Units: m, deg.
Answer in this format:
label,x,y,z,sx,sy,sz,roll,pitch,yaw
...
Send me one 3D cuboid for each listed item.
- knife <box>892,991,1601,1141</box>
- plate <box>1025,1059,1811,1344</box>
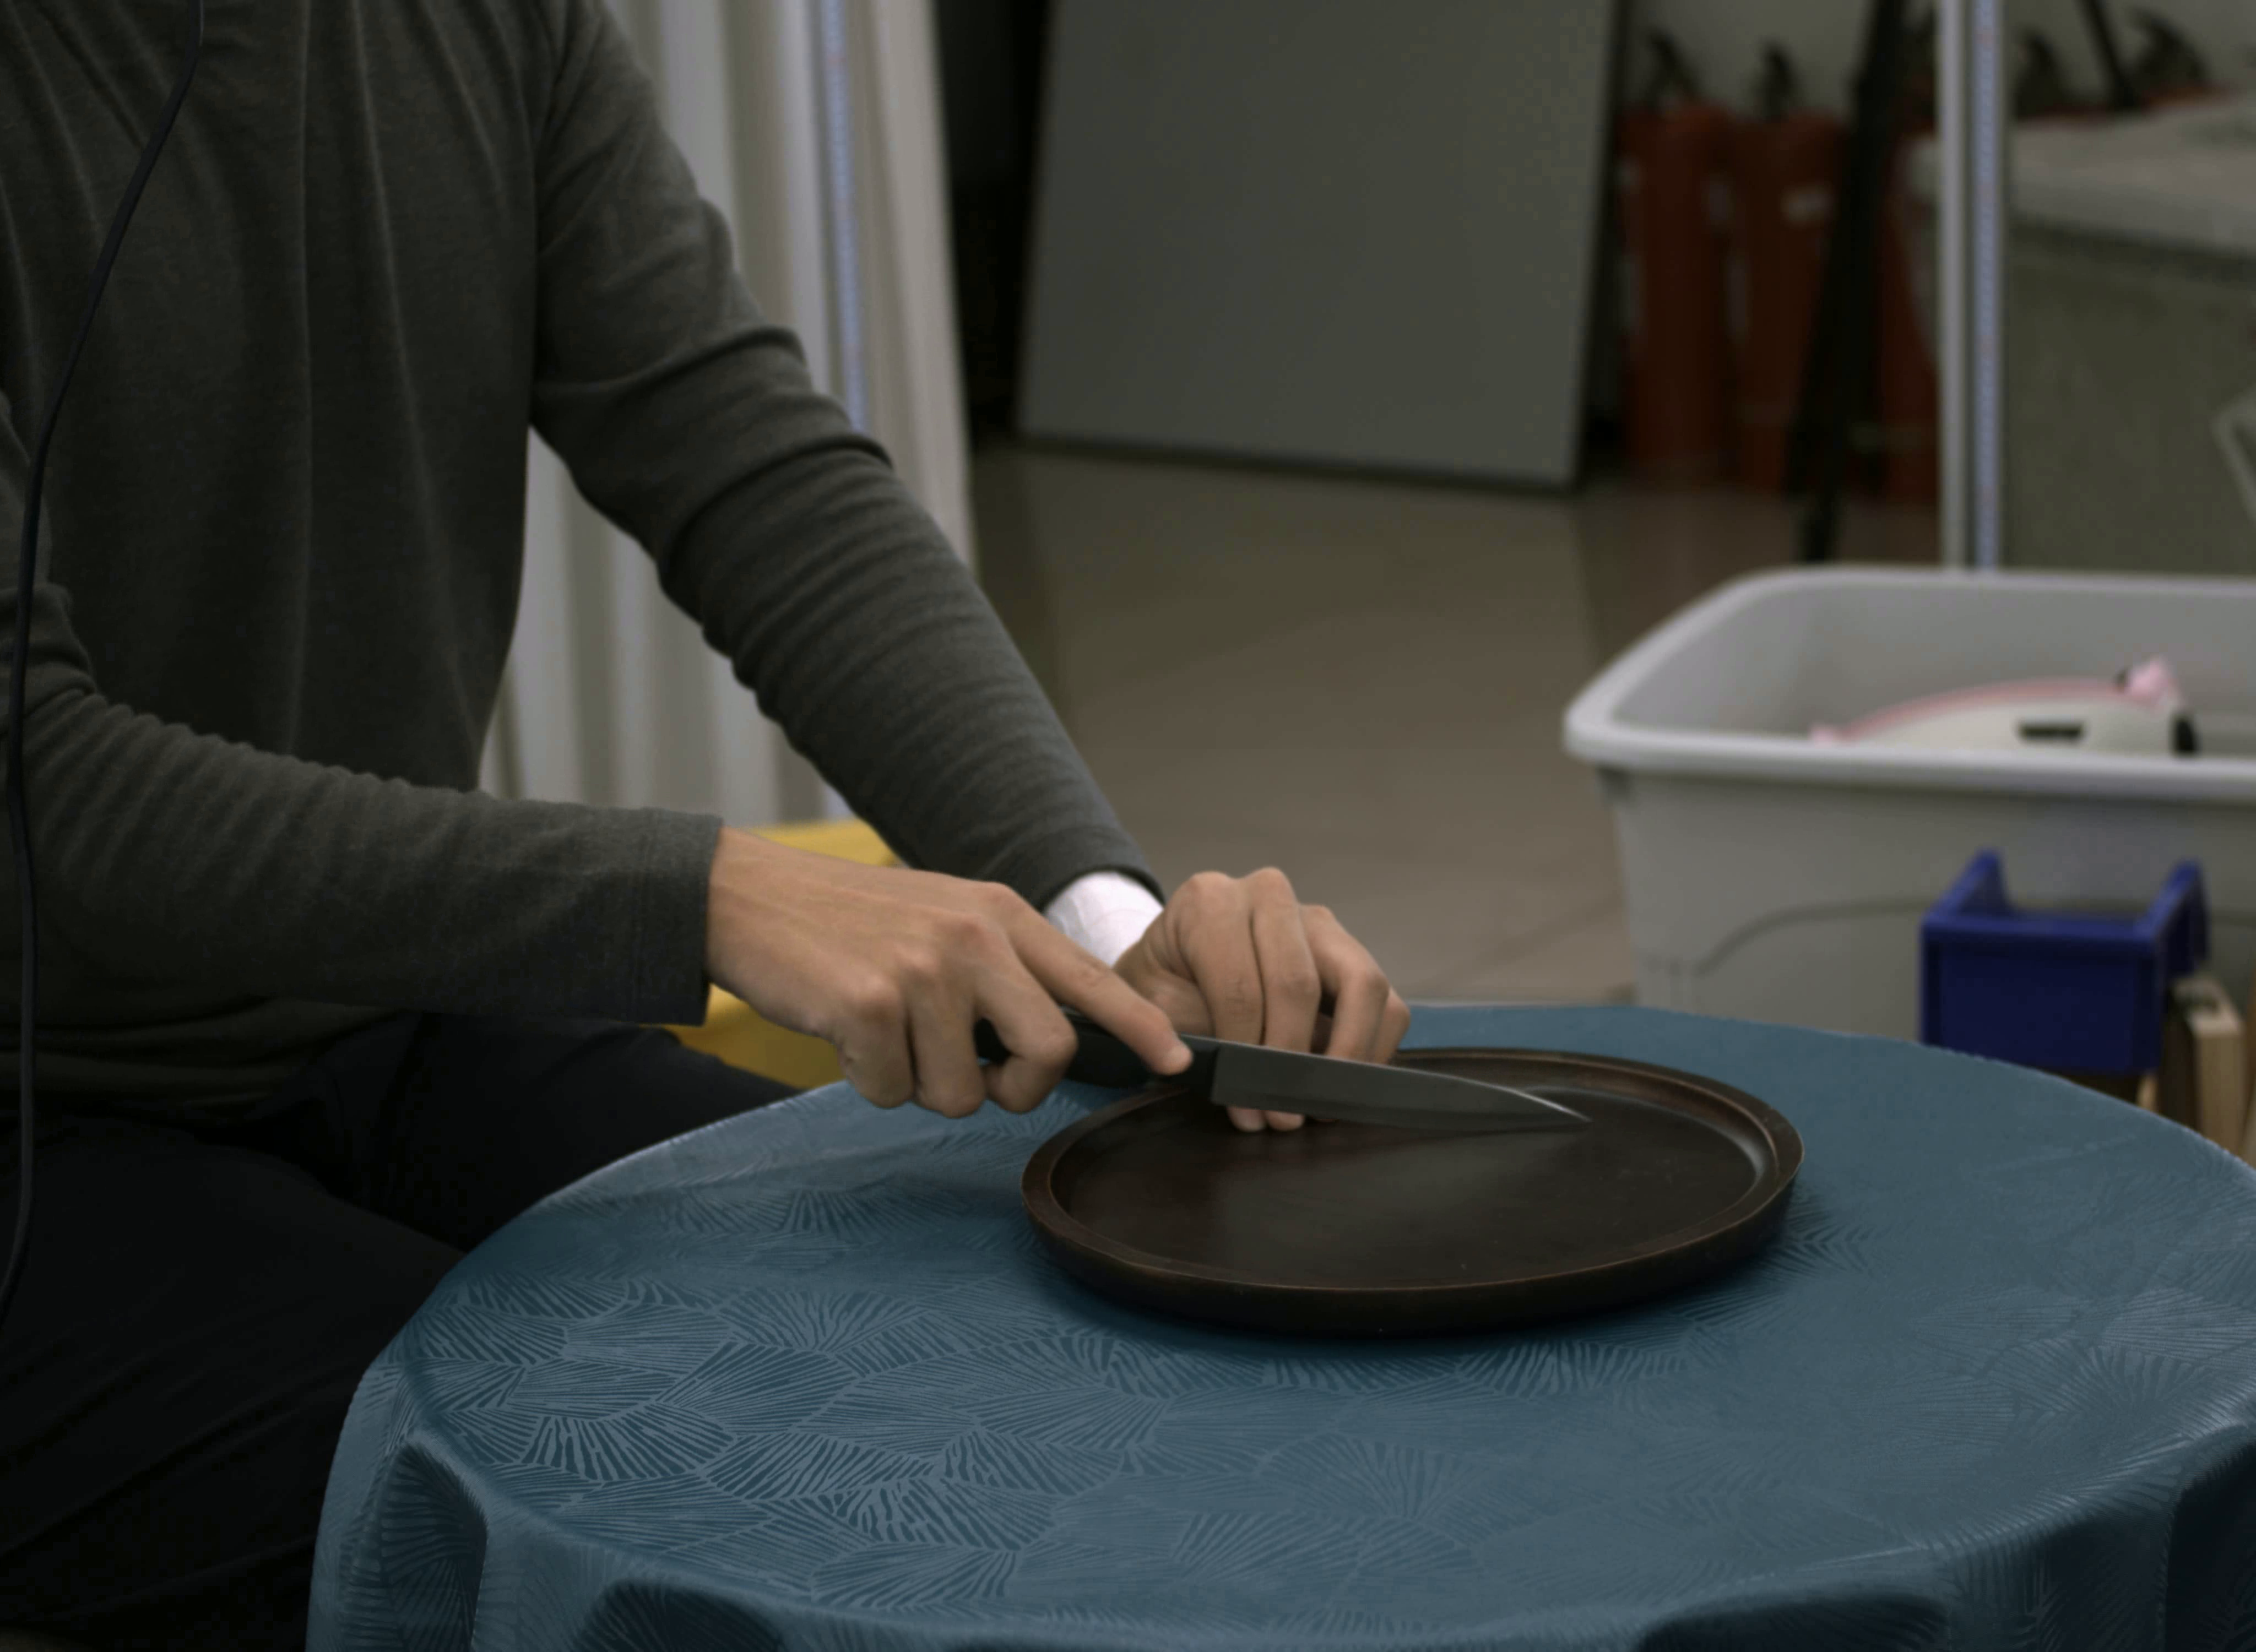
label,x,y,z,sx,sy,sz,roll,pitch,yaw
knife,0.040,0.080,1.769,0.235,0.025,0.016,9,5,2
plate,0.092,0.117,1.719,0.251,0.029,0.255,-3,14,0
